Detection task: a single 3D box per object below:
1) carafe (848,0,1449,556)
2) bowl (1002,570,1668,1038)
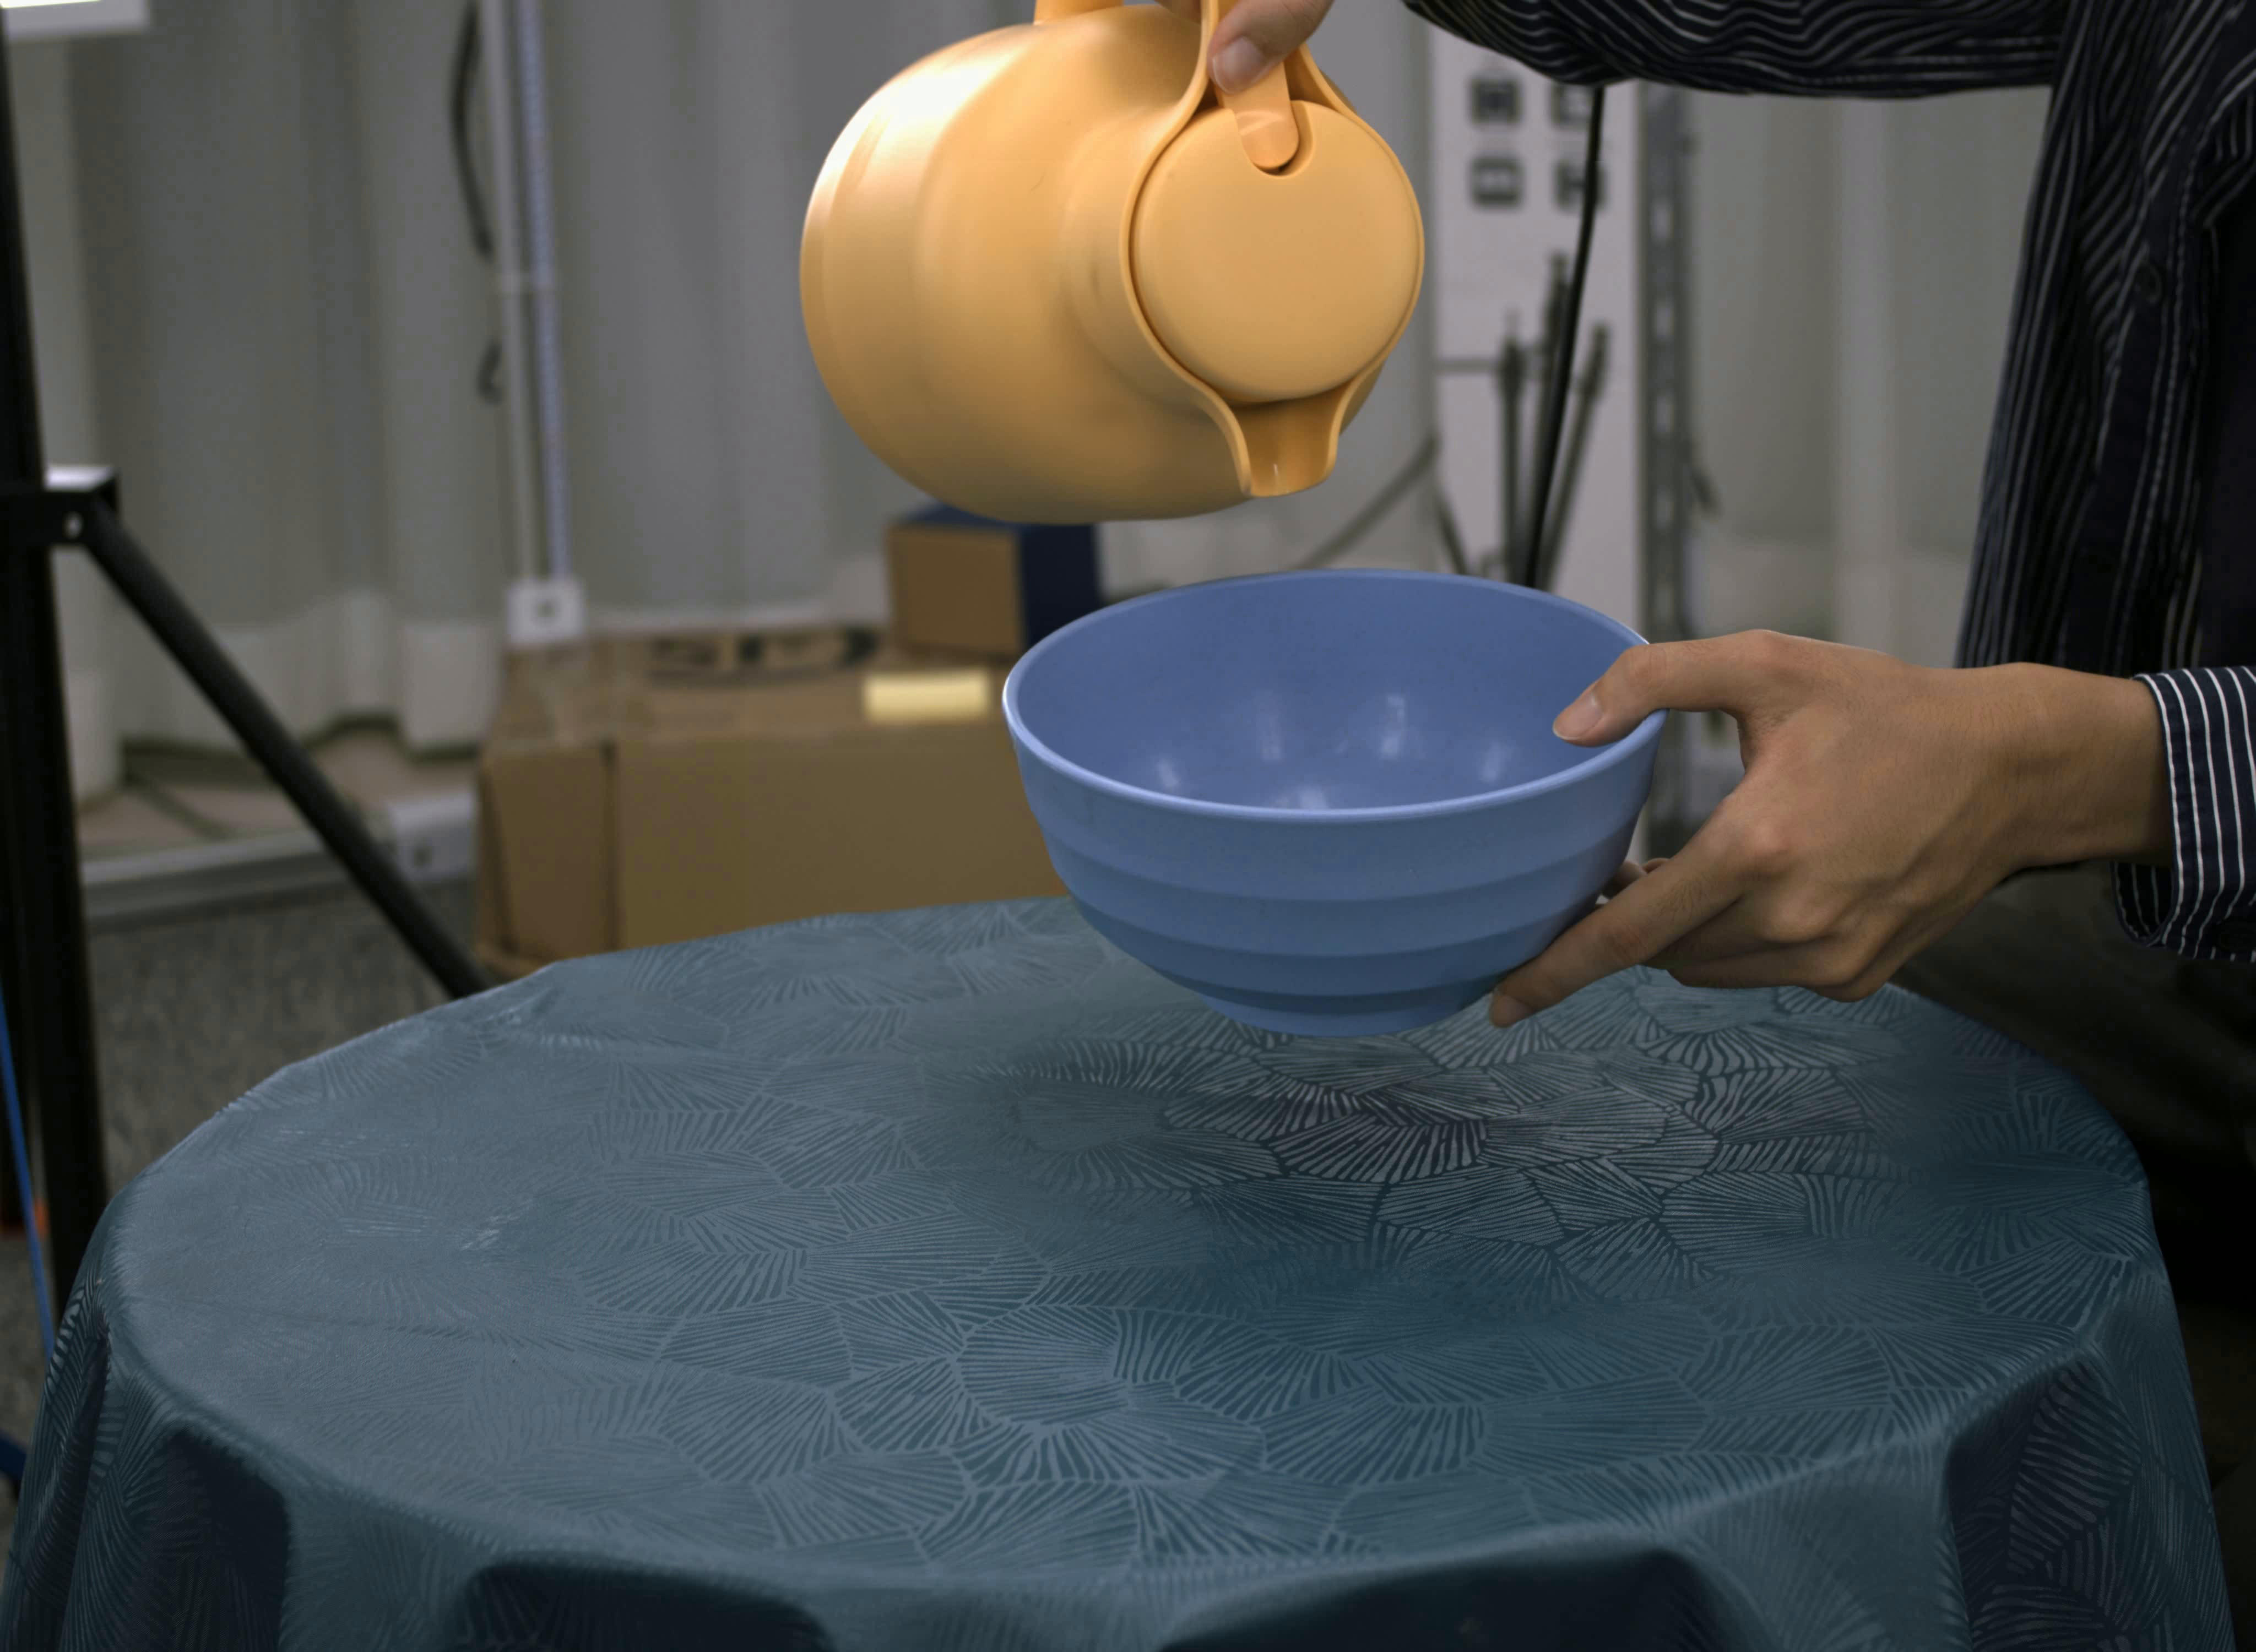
[{"bbox_3d":[0.015,-0.187,1.681,0.160,0.203,0.264,-6,4,-18],"label":"carafe"},{"bbox_3d":[0.062,0.001,1.578,0.195,0.095,0.198,-3,23,0],"label":"bowl"}]
